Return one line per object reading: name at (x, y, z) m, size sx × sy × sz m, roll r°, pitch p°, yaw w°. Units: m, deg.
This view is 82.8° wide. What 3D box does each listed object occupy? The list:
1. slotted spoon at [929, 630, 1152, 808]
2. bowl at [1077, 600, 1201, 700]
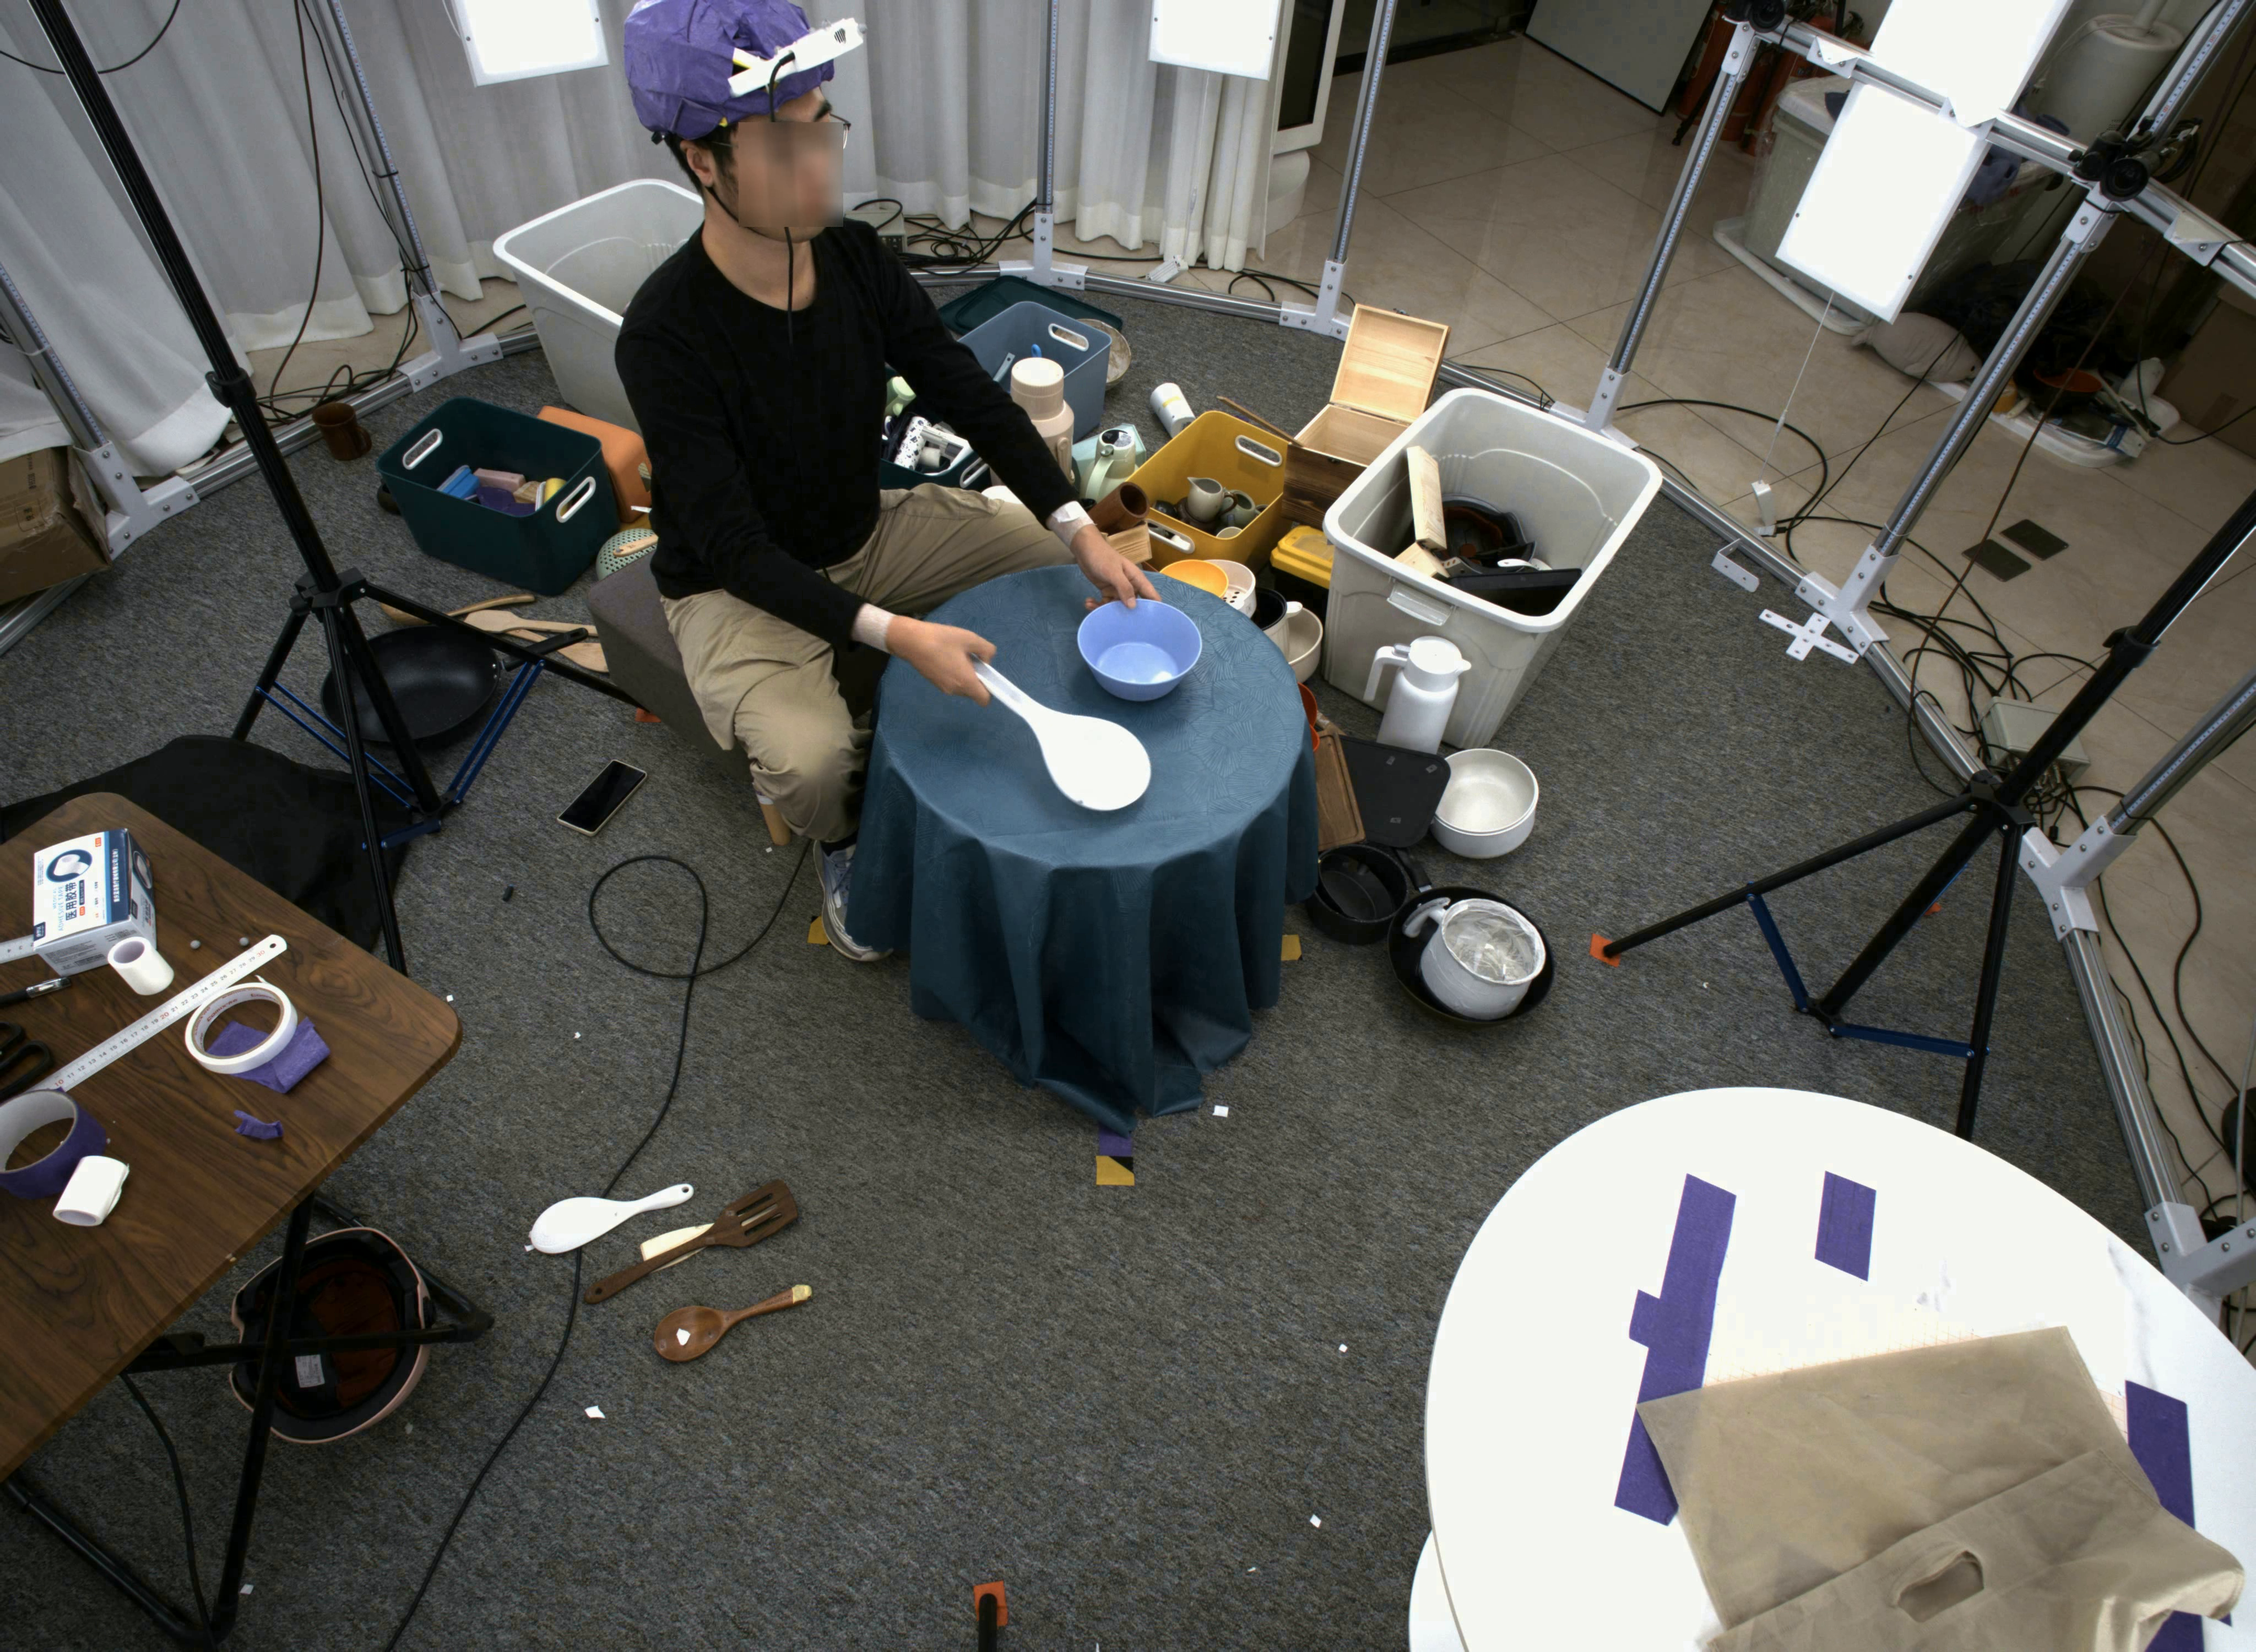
slotted spoon at (-0.120, -0.145, 1.697) m, size 0.350 × 0.045 × 0.138 m, roll 40°, pitch 54°, yaw 2°
bowl at (0.014, -0.243, 1.836) m, size 0.176 × 0.068 × 0.180 m, roll 1°, pitch 49°, yaw -2°
